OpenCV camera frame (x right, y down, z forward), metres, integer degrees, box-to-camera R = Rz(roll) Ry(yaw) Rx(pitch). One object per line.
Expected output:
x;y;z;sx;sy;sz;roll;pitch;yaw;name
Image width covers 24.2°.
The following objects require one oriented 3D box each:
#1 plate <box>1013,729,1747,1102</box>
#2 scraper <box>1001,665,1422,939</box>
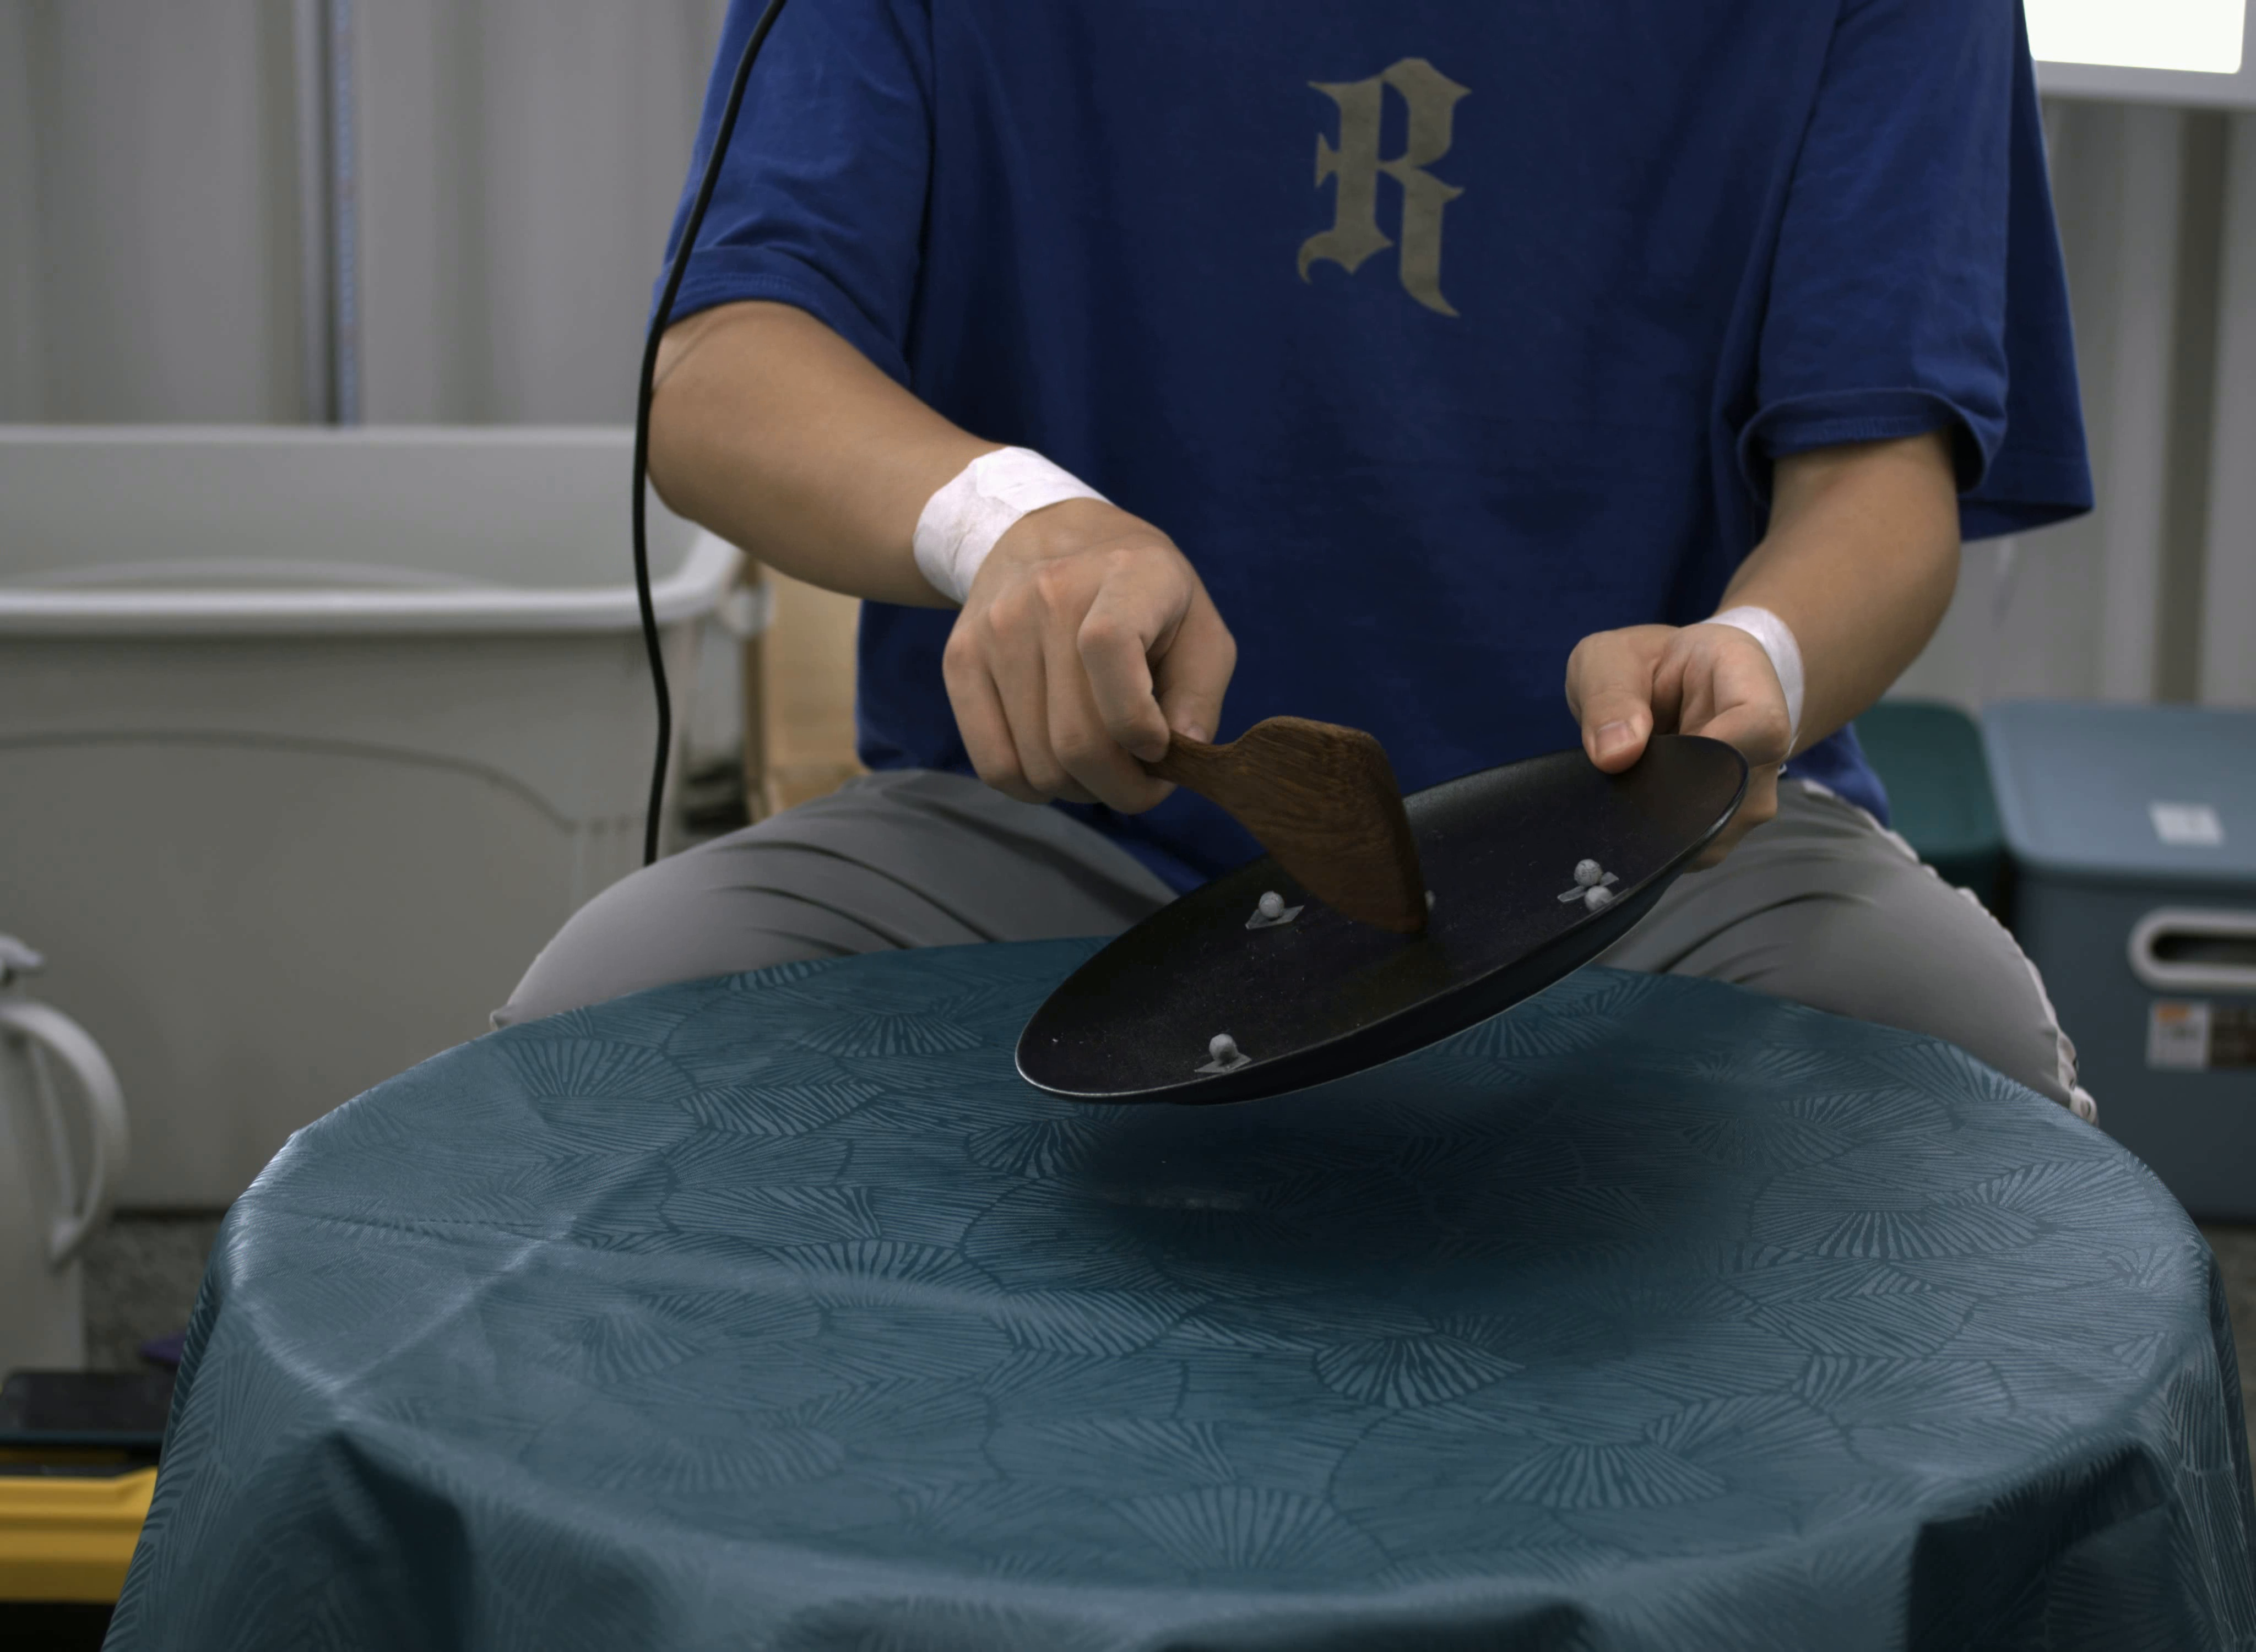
0.080;0.033;1.620;0.243;0.023;0.243;-22;13;6;plate
0.021;-0.019;1.672;0.011;0.077;0.208;-29;29;-27;scraper
